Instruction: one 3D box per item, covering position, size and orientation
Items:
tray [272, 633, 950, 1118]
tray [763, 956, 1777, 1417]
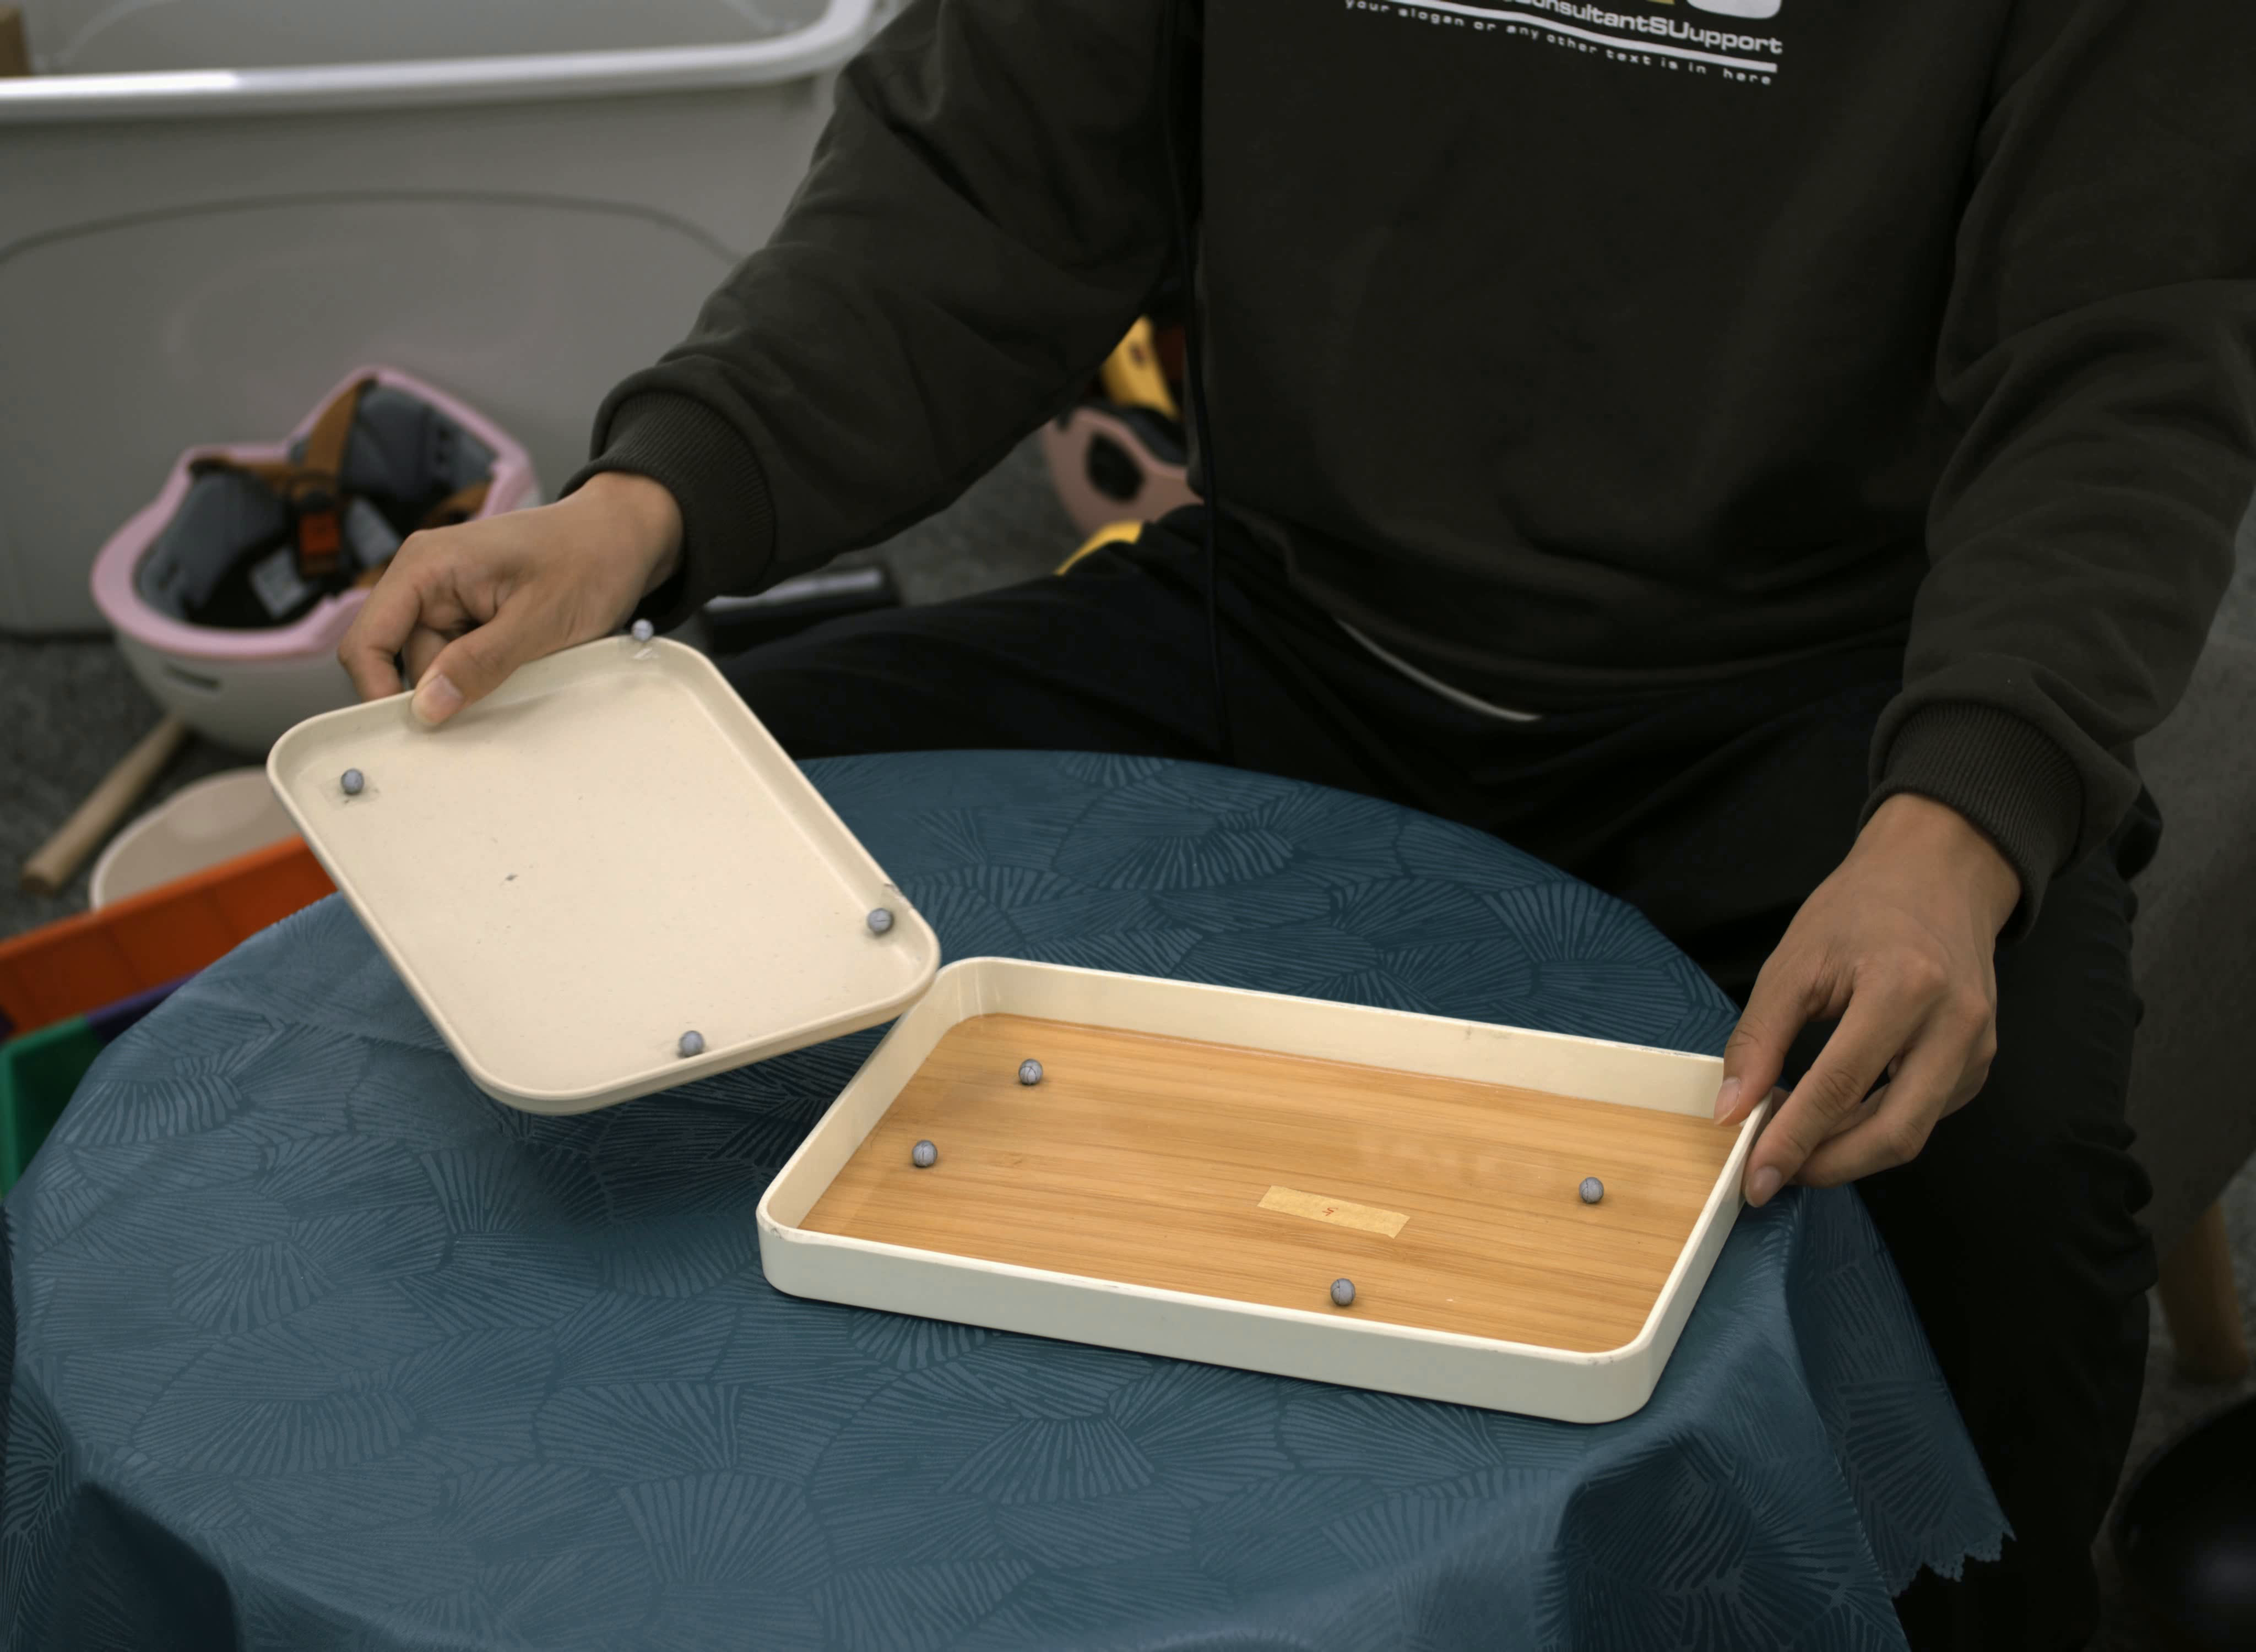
[{"bbox_3d":[-0.180,0.015,1.934,0.172,0.017,0.242,-16,40,-24],"label":"tray"},{"bbox_3d":[0.048,0.115,1.846,0.298,0.027,0.195,7,29,18],"label":"tray"}]
